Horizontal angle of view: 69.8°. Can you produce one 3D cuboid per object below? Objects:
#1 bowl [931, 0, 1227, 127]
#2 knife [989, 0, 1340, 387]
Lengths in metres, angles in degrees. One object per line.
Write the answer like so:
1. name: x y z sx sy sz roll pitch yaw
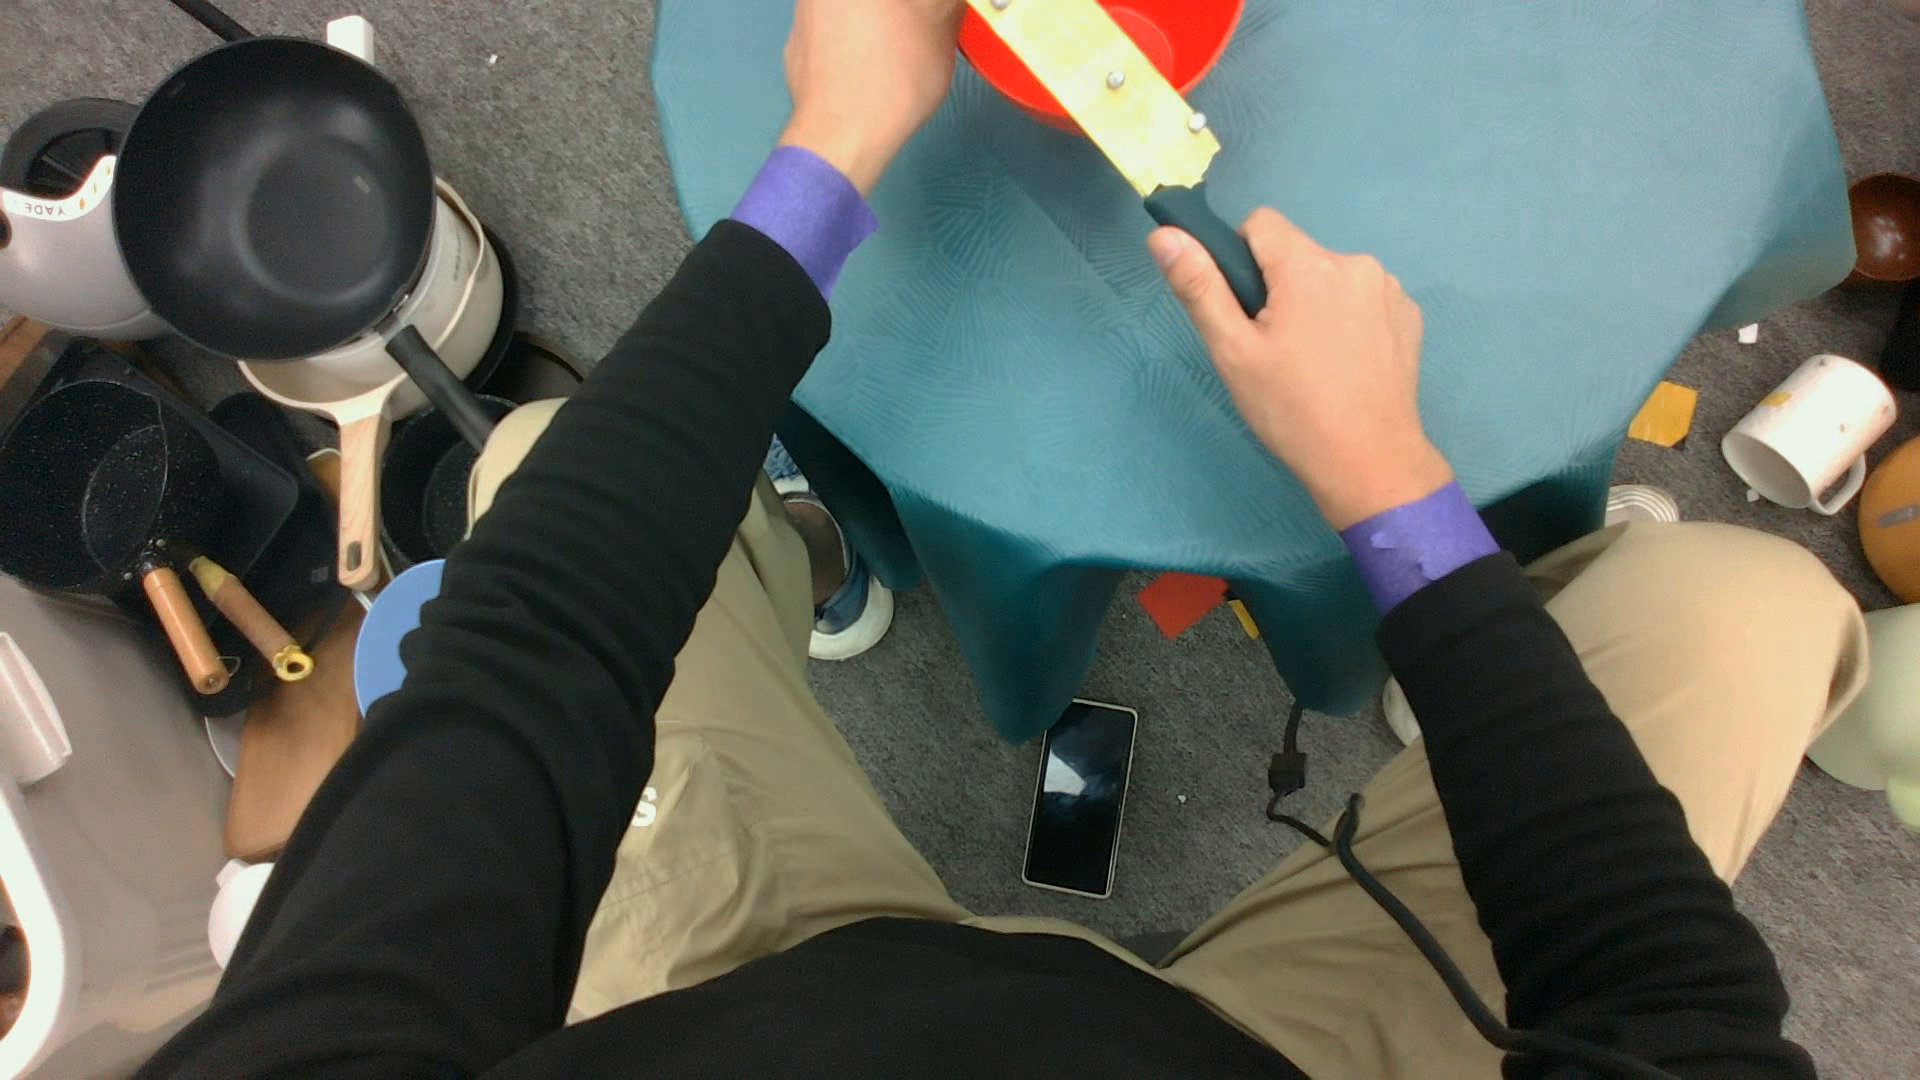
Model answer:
1. bowl: 0.059 -0.270 0.687 0.148 0.104 0.148 -1 81 5
2. knife: 0.086 -0.188 0.623 0.289 0.027 0.081 50 52 -13
